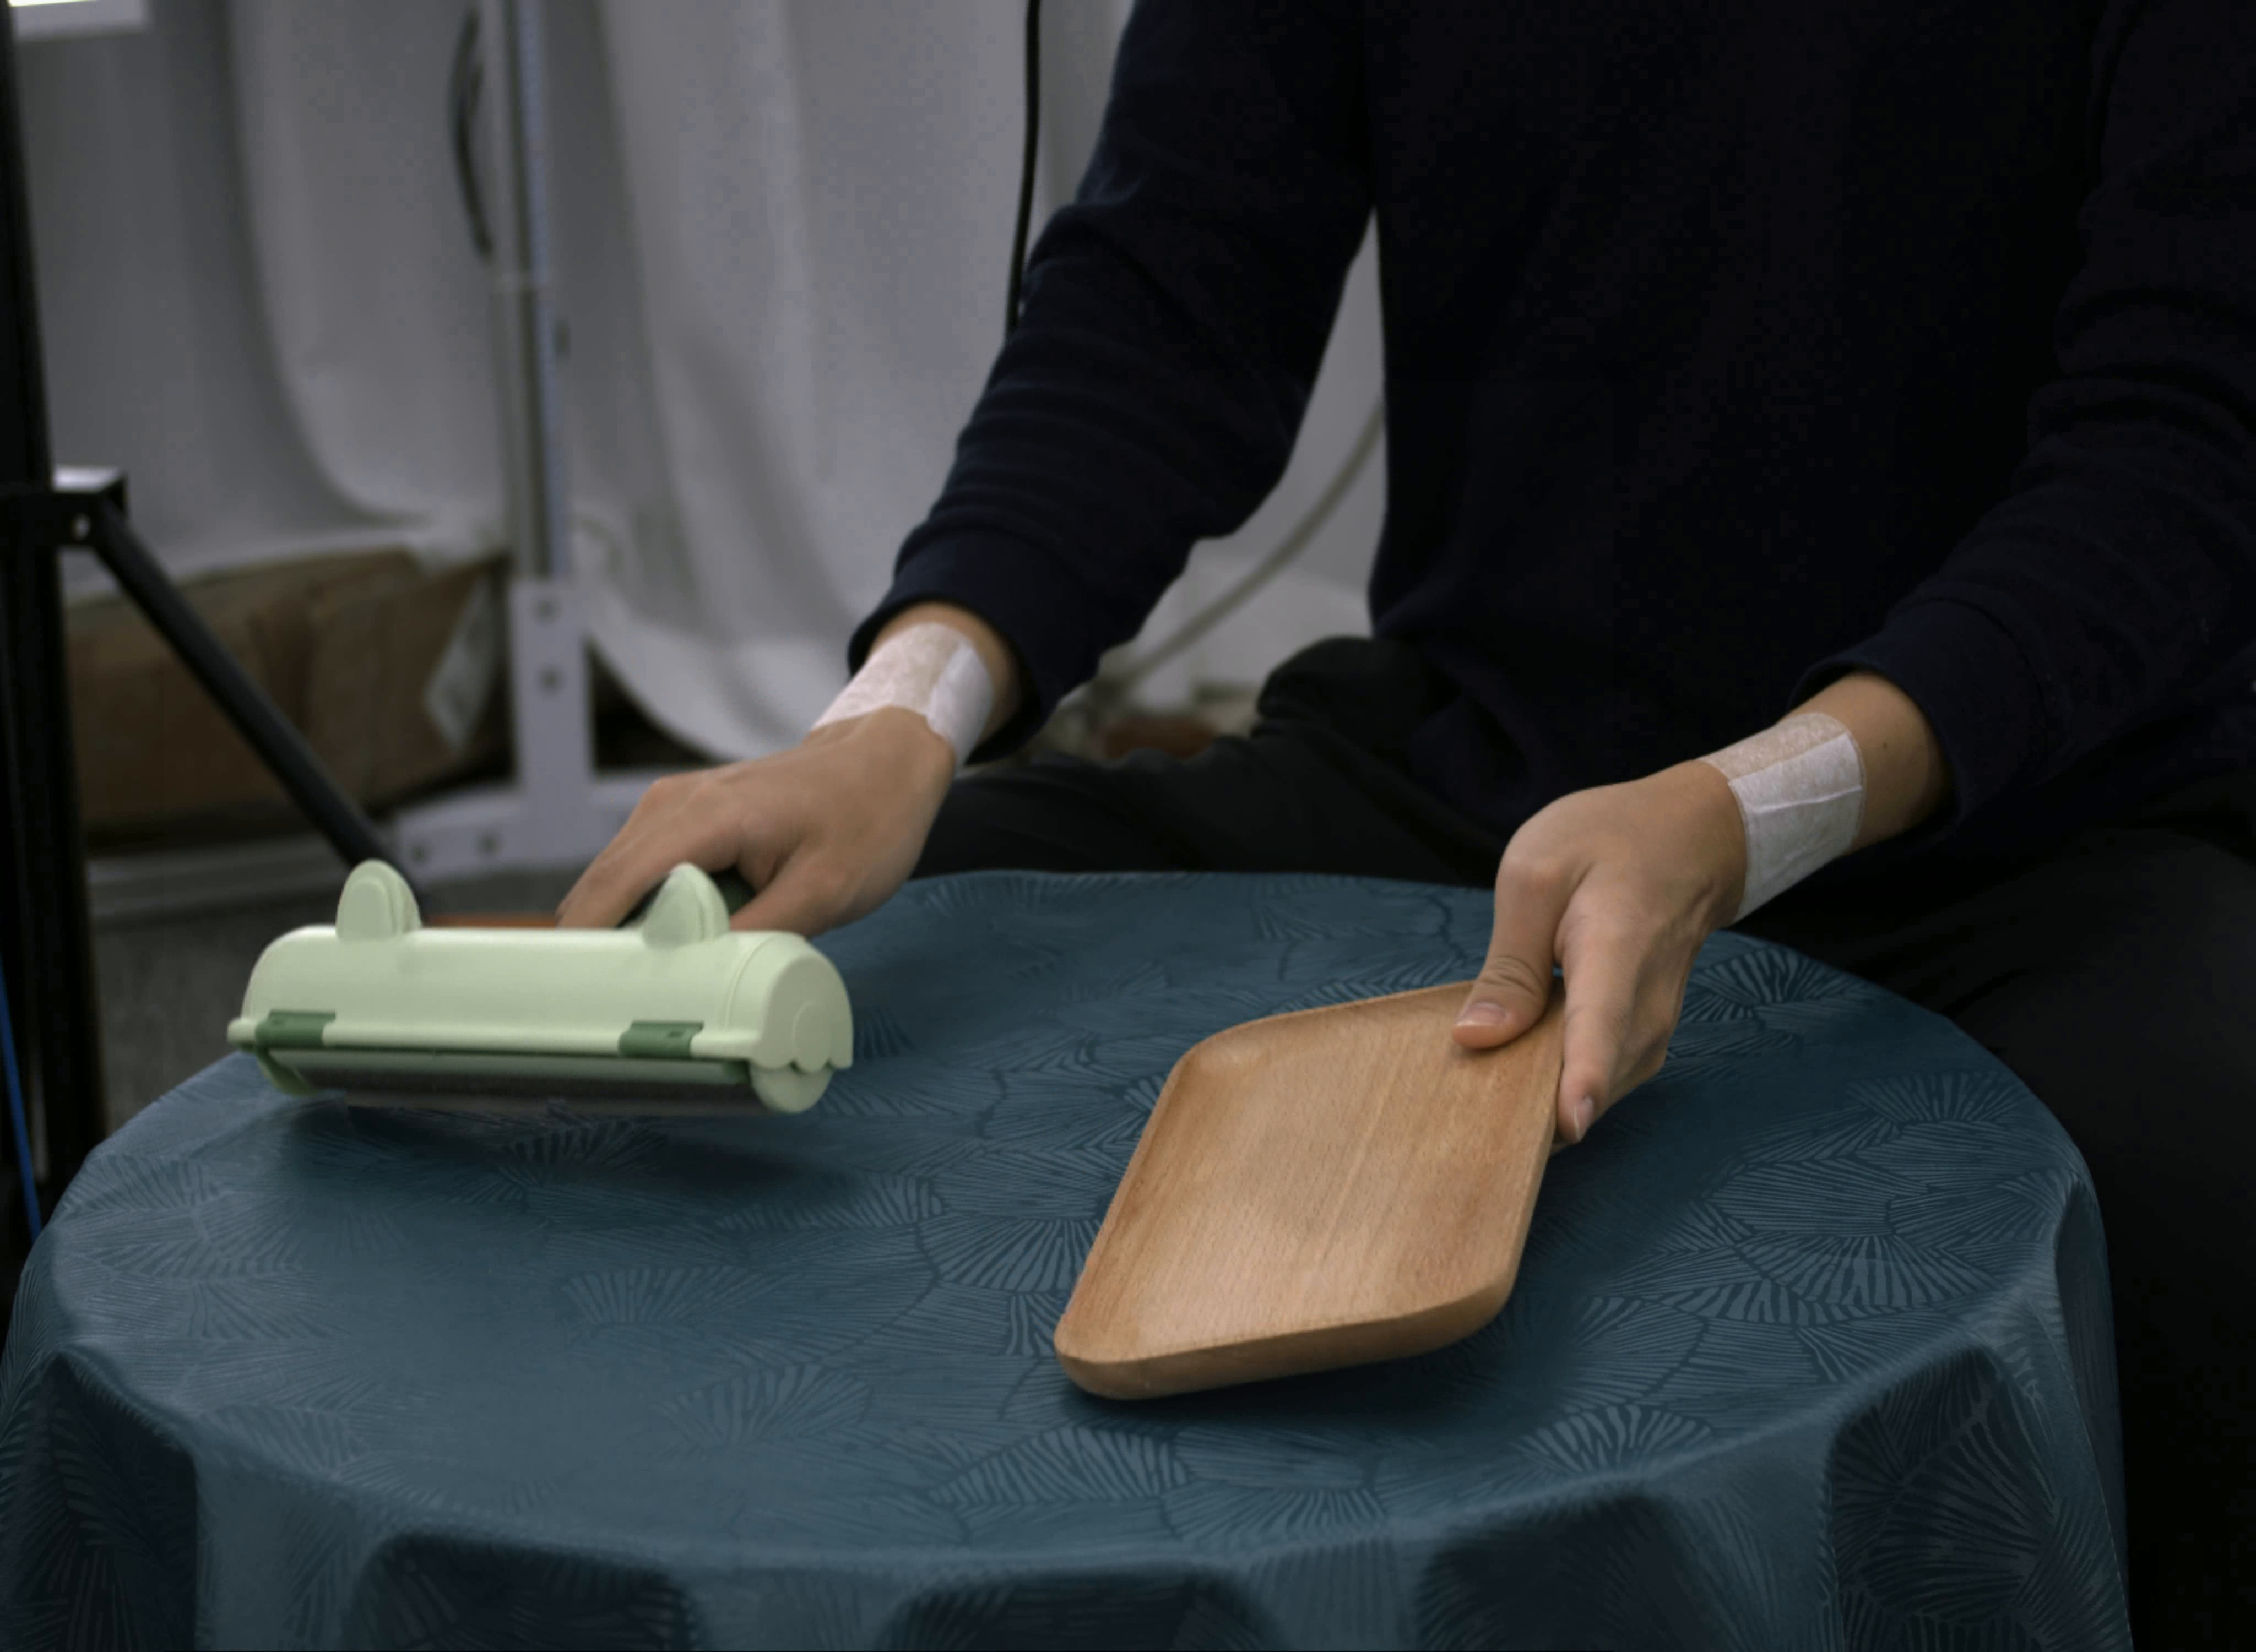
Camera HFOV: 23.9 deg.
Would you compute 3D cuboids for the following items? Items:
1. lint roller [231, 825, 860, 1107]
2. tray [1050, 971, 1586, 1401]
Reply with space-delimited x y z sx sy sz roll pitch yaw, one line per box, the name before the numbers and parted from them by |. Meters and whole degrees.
lint roller | -0.155 0.022 1.663 0.202 0.081 0.181 0 28 30
tray | 0.058 0.098 1.490 0.131 0.023 0.249 -9 16 14
